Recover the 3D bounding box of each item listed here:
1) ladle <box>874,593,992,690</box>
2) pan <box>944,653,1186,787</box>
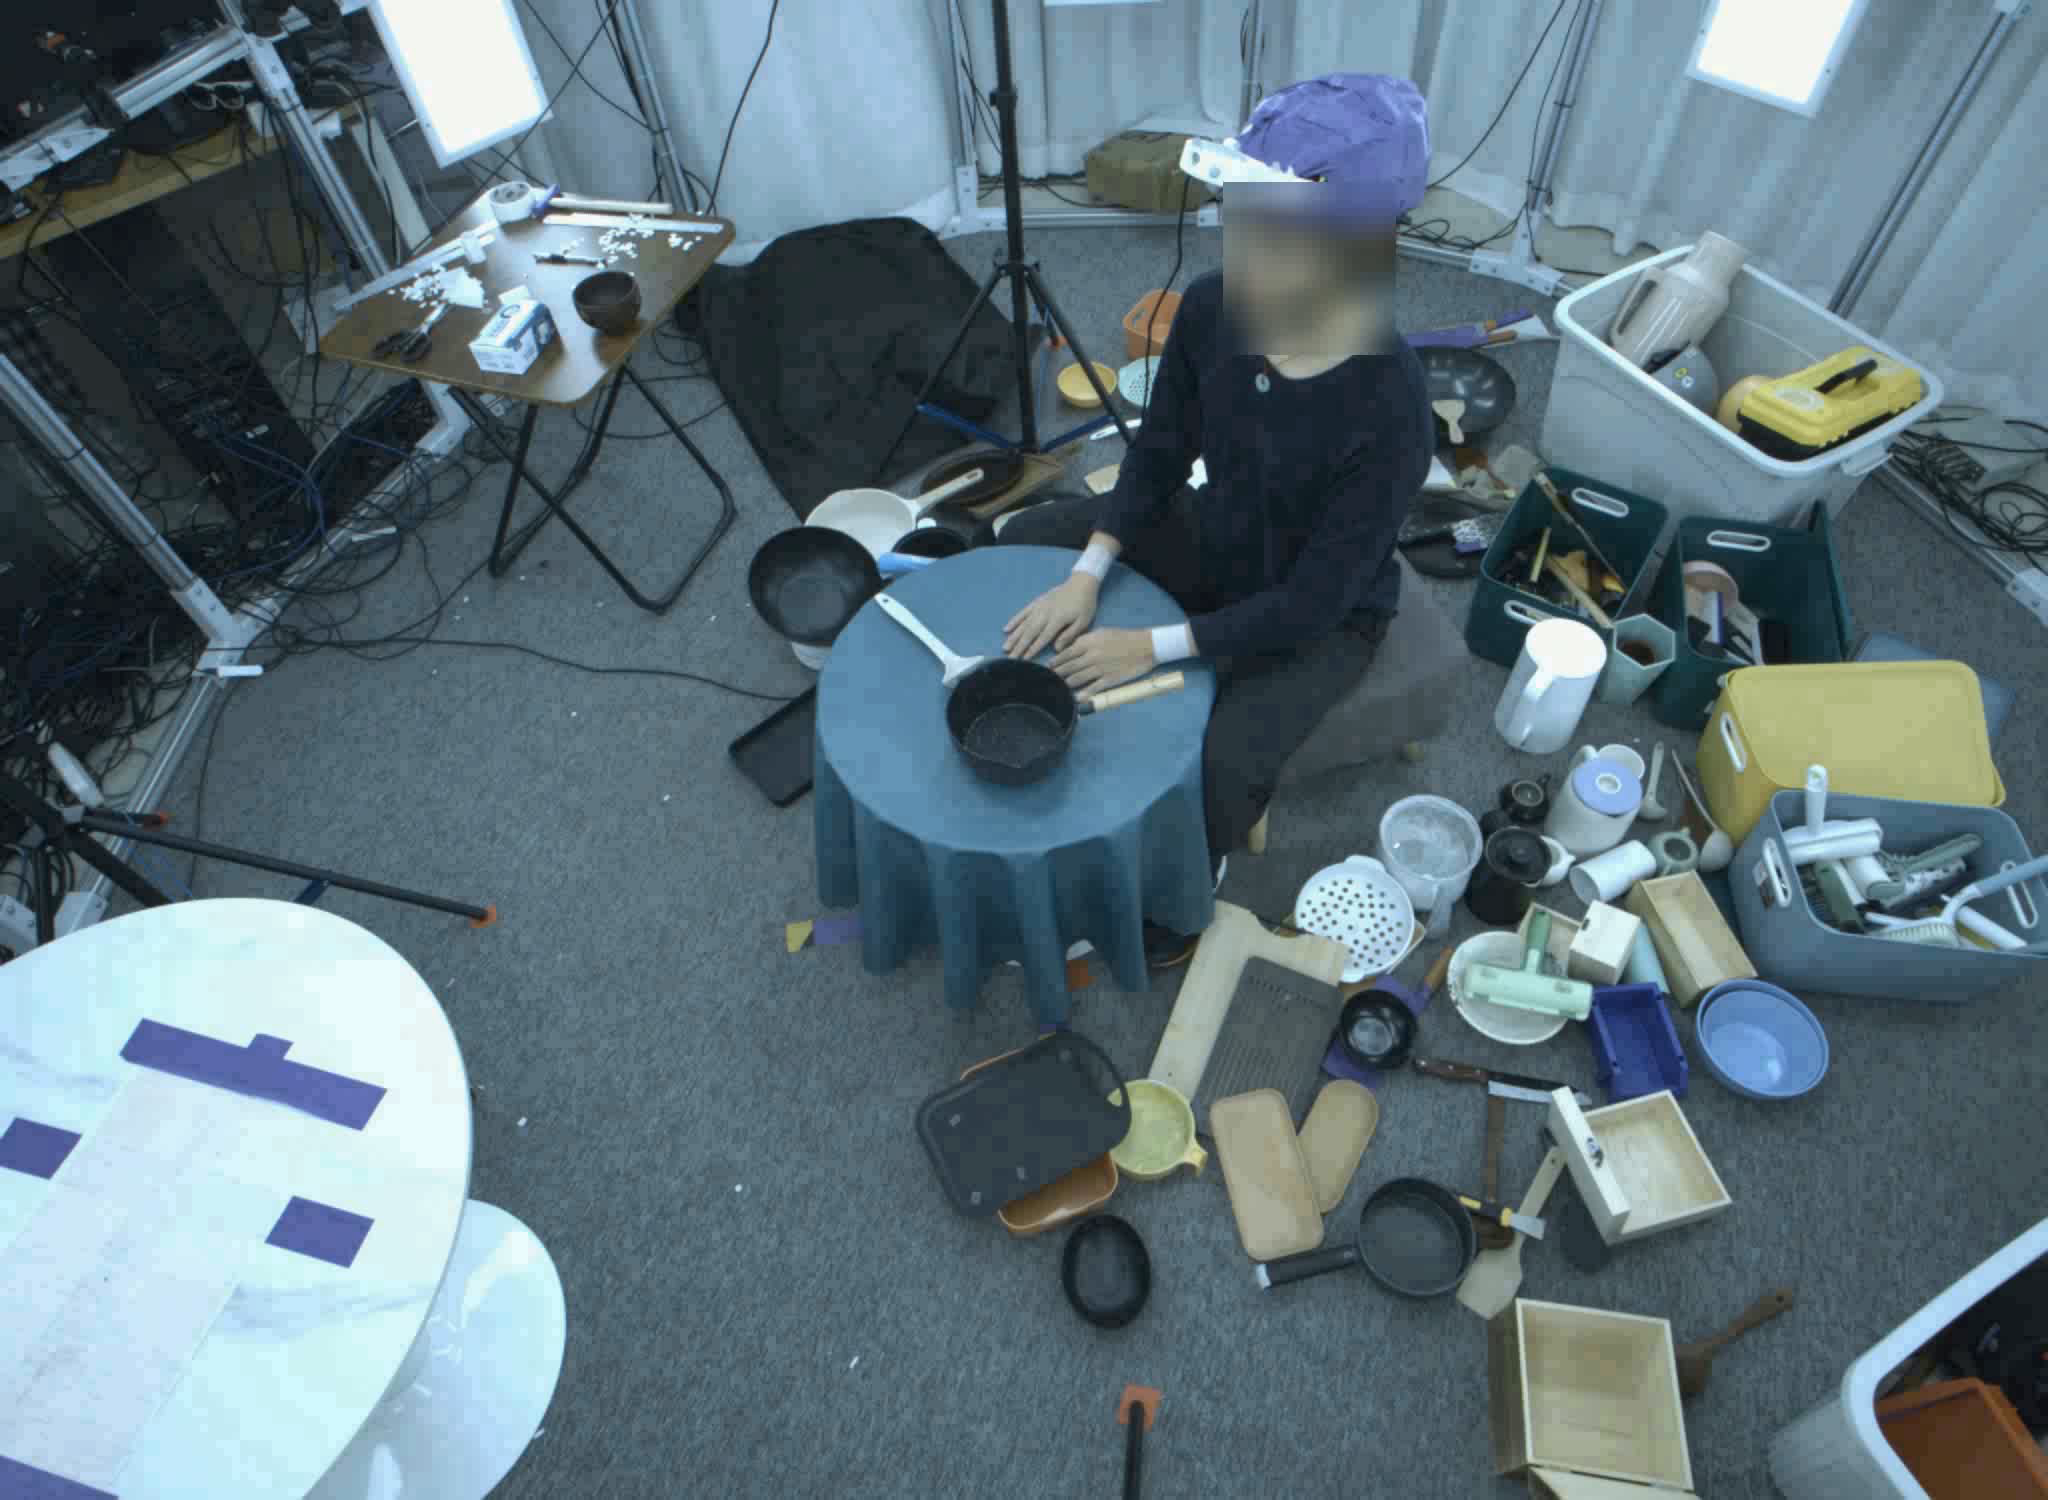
[{"bbox_3d":[-0.154,-0.186,1.882,0.090,0.070,0.270,-39,62,-17],"label":"ladle"},{"bbox_3d":[0.061,-0.052,1.755,0.343,0.109,0.204,-10,54,-3],"label":"pan"}]
